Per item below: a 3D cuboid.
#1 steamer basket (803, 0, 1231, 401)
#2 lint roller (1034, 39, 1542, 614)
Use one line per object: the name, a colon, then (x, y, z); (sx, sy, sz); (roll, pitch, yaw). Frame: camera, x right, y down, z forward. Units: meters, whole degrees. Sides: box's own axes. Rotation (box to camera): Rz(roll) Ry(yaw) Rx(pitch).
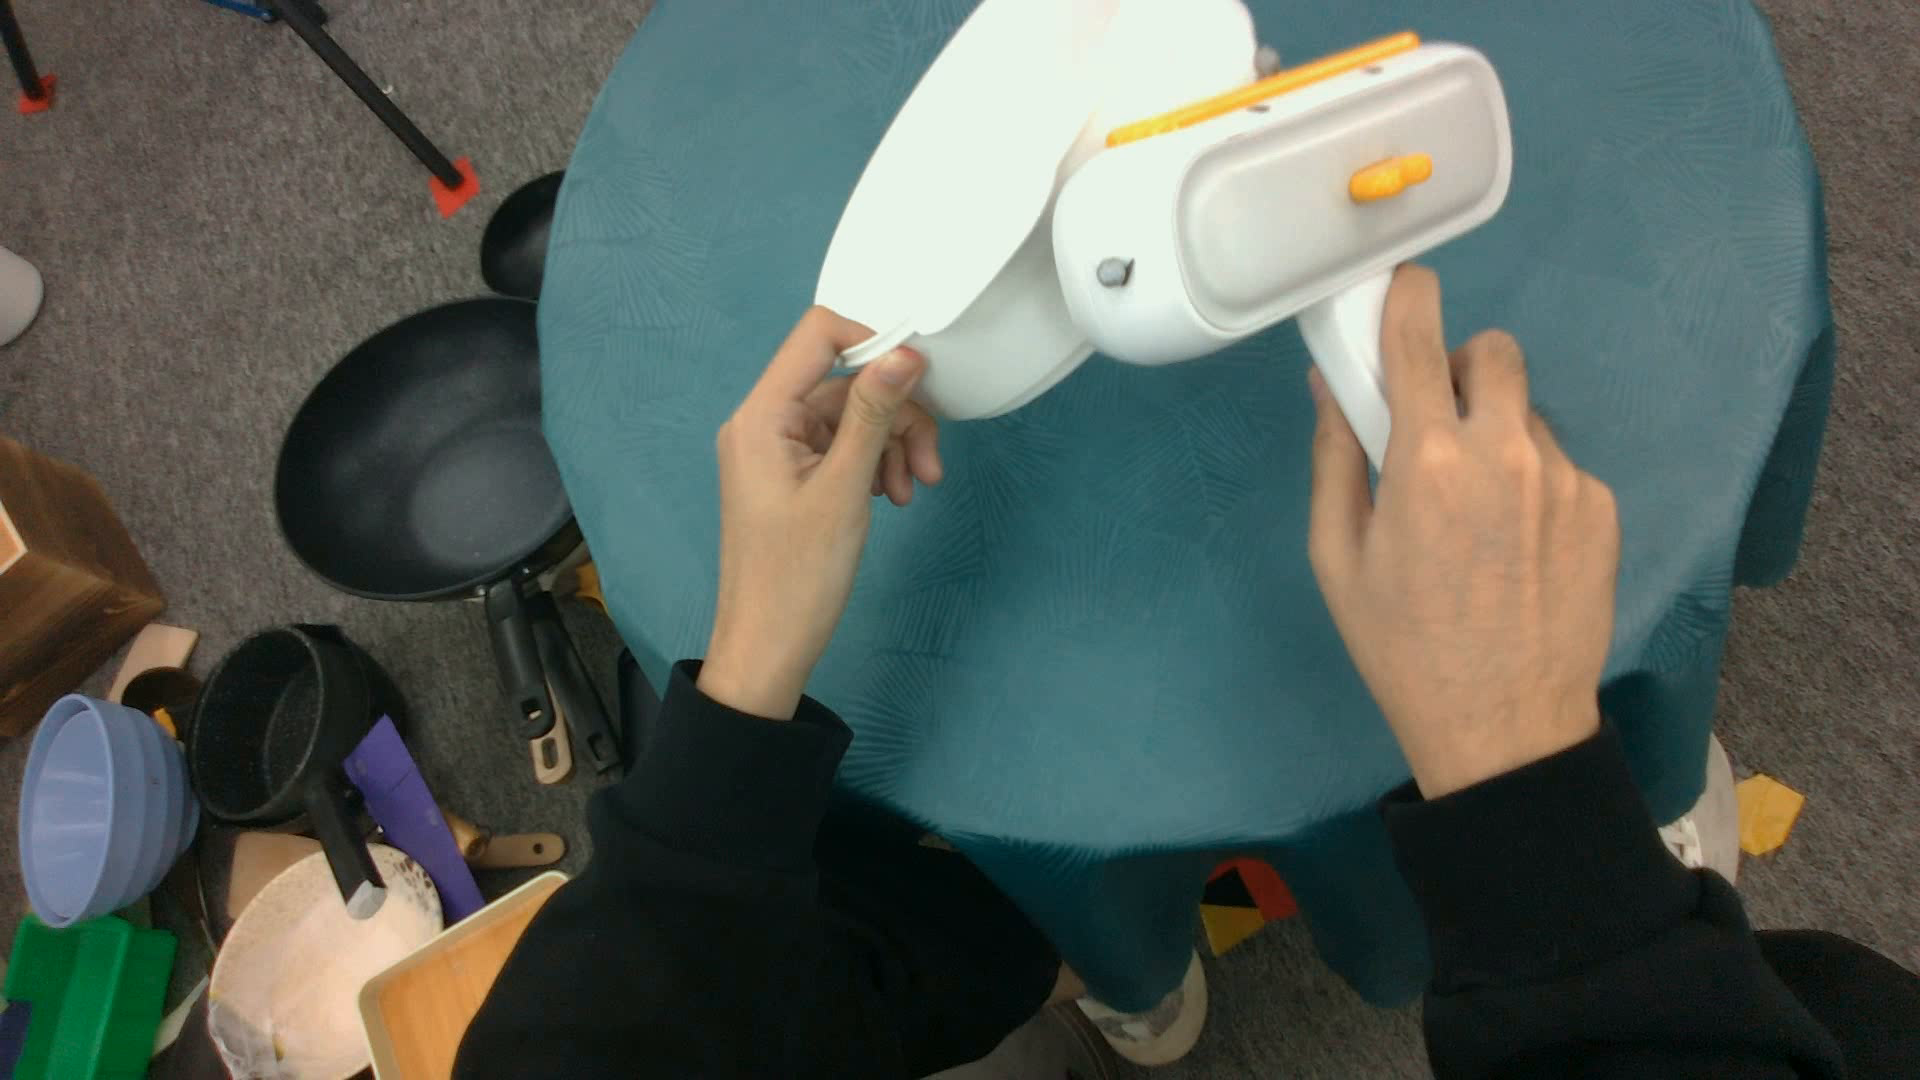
steamer basket: (0.018, -0.152, 0.546); (0.201, 0.069, 0.231); (-47, 31, 28)
lint roller: (0.131, -0.062, 0.458); (0.194, 0.074, 0.192); (-32, 101, -38)
